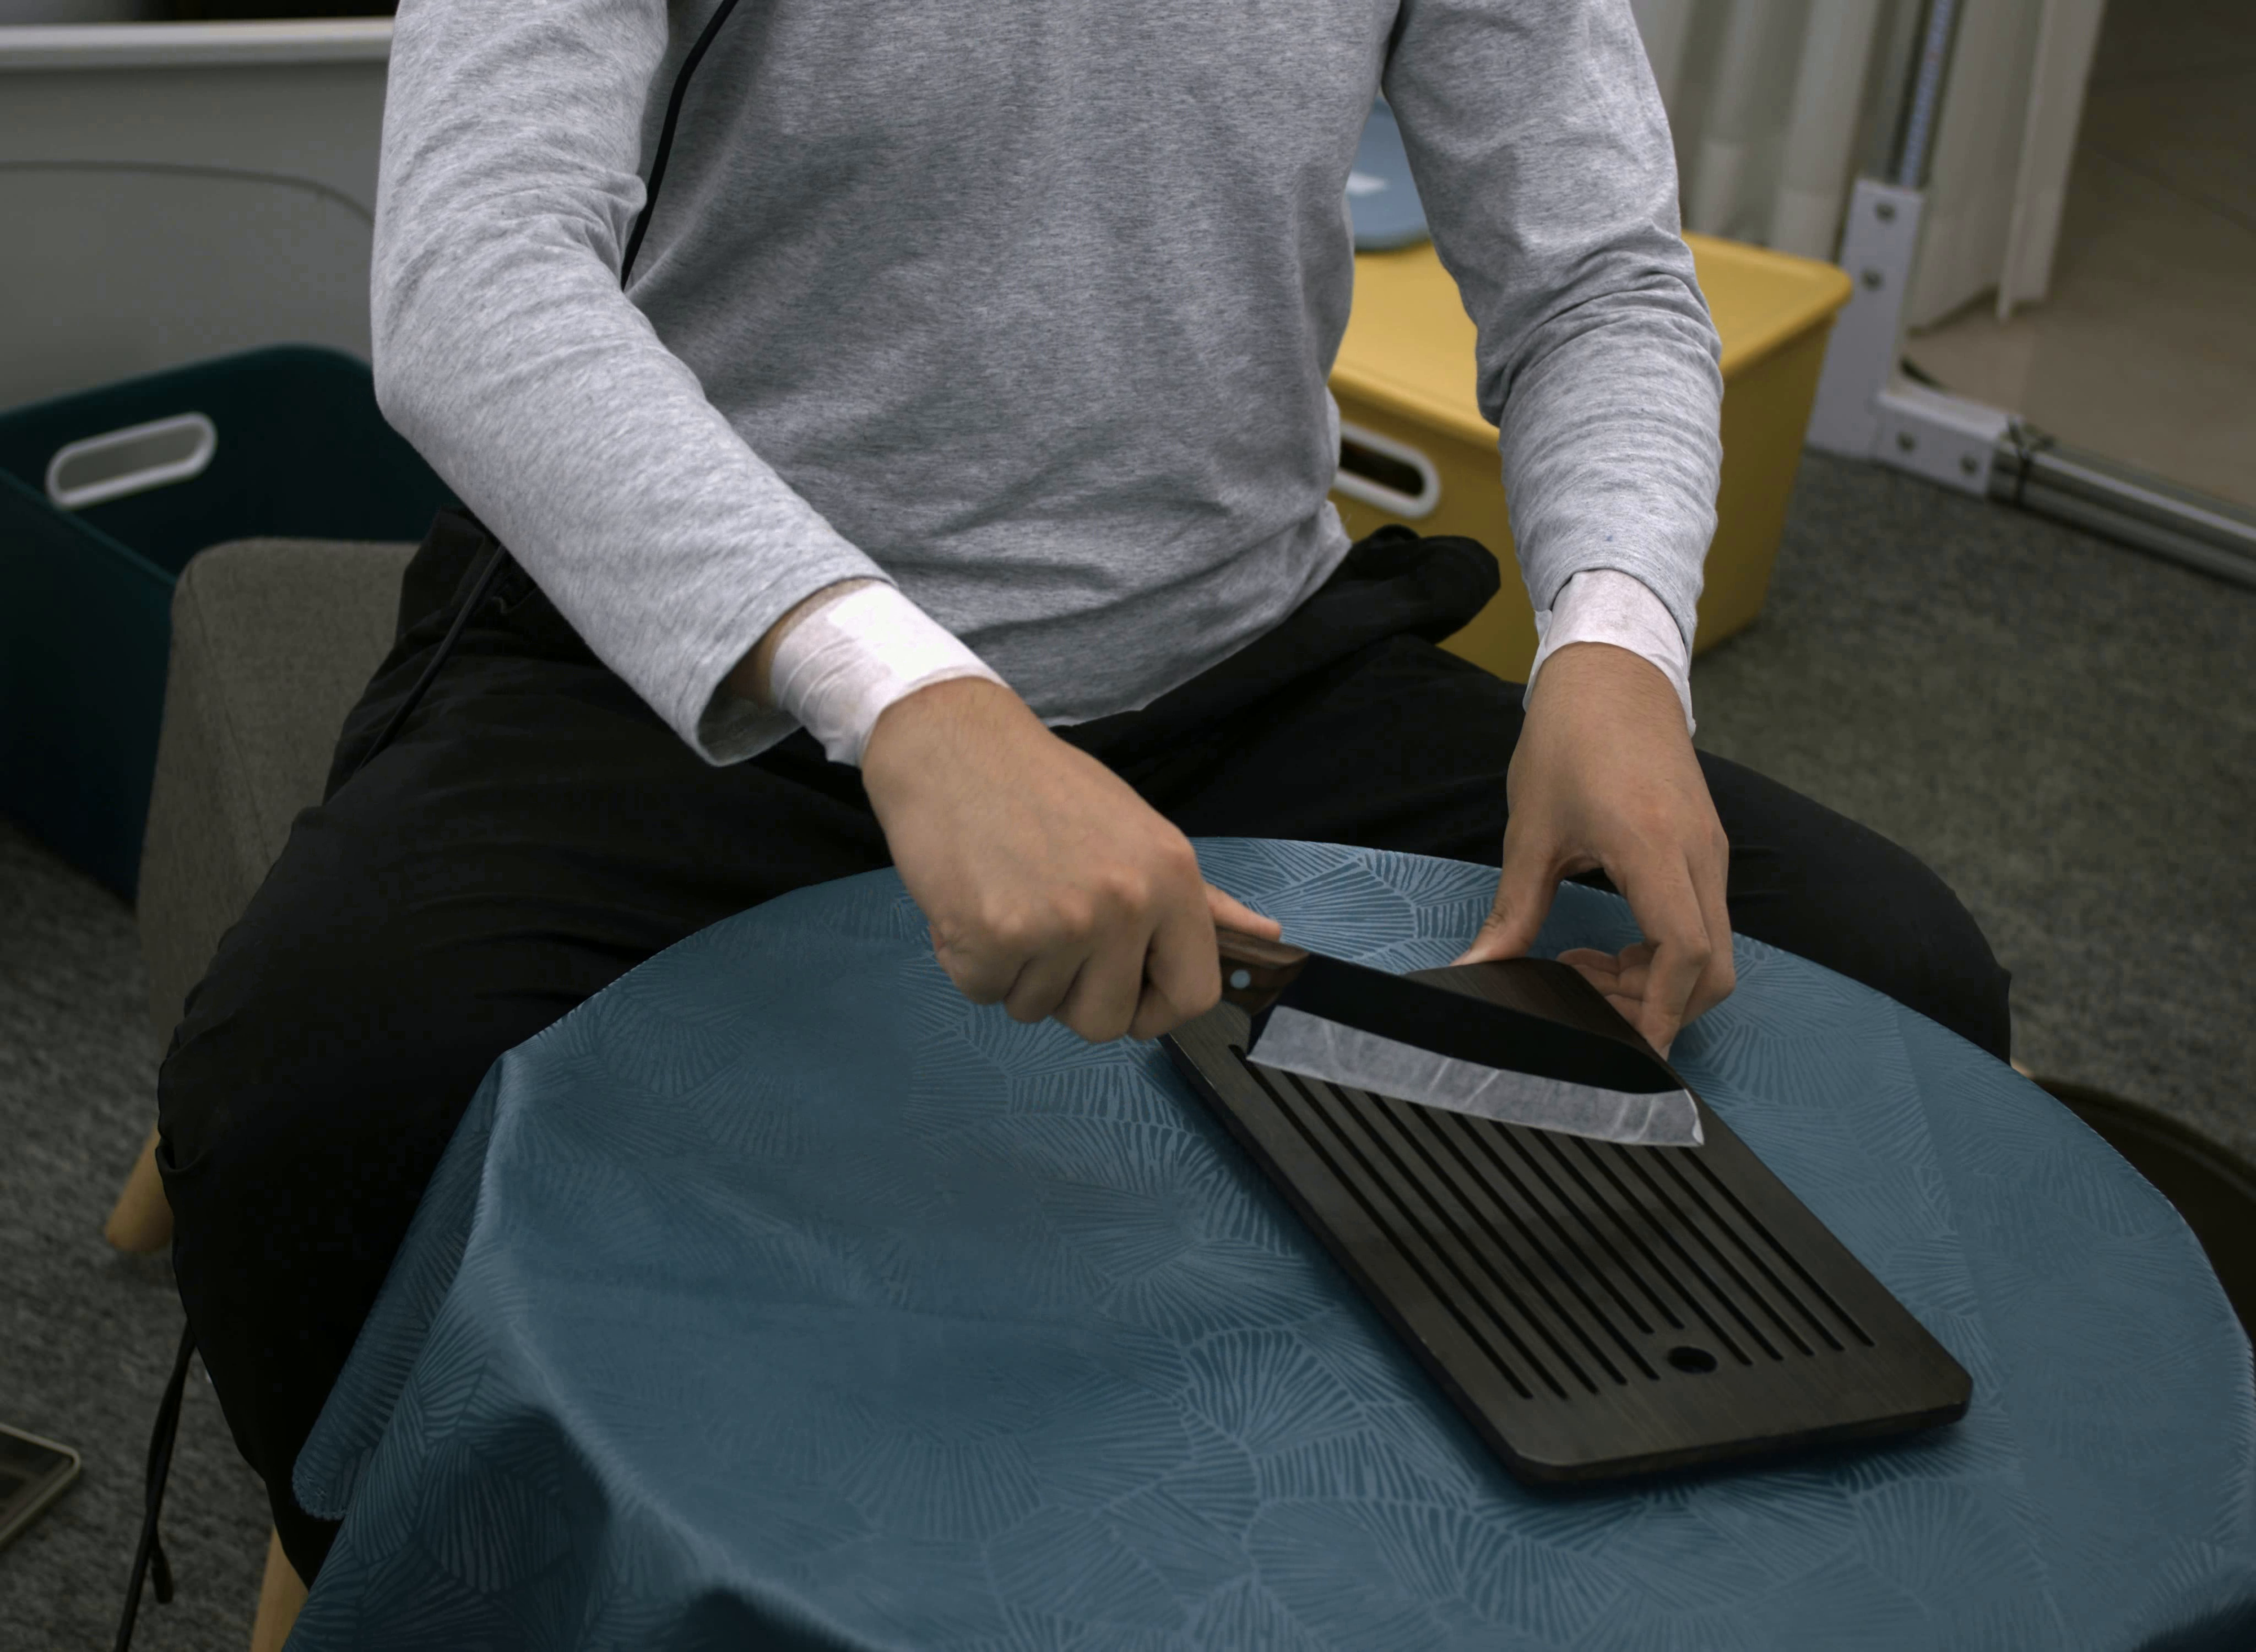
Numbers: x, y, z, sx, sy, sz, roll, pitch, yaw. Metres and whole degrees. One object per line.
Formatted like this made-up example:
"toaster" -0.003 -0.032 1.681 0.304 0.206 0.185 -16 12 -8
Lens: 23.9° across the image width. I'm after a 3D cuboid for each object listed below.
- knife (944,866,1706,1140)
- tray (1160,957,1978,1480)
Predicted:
"knife" 0.068 0.061 1.760 0.287 0.050 0.020 18 25 -19
"tray" 0.143 0.130 1.807 0.169 0.018 0.309 -5 29 -23
